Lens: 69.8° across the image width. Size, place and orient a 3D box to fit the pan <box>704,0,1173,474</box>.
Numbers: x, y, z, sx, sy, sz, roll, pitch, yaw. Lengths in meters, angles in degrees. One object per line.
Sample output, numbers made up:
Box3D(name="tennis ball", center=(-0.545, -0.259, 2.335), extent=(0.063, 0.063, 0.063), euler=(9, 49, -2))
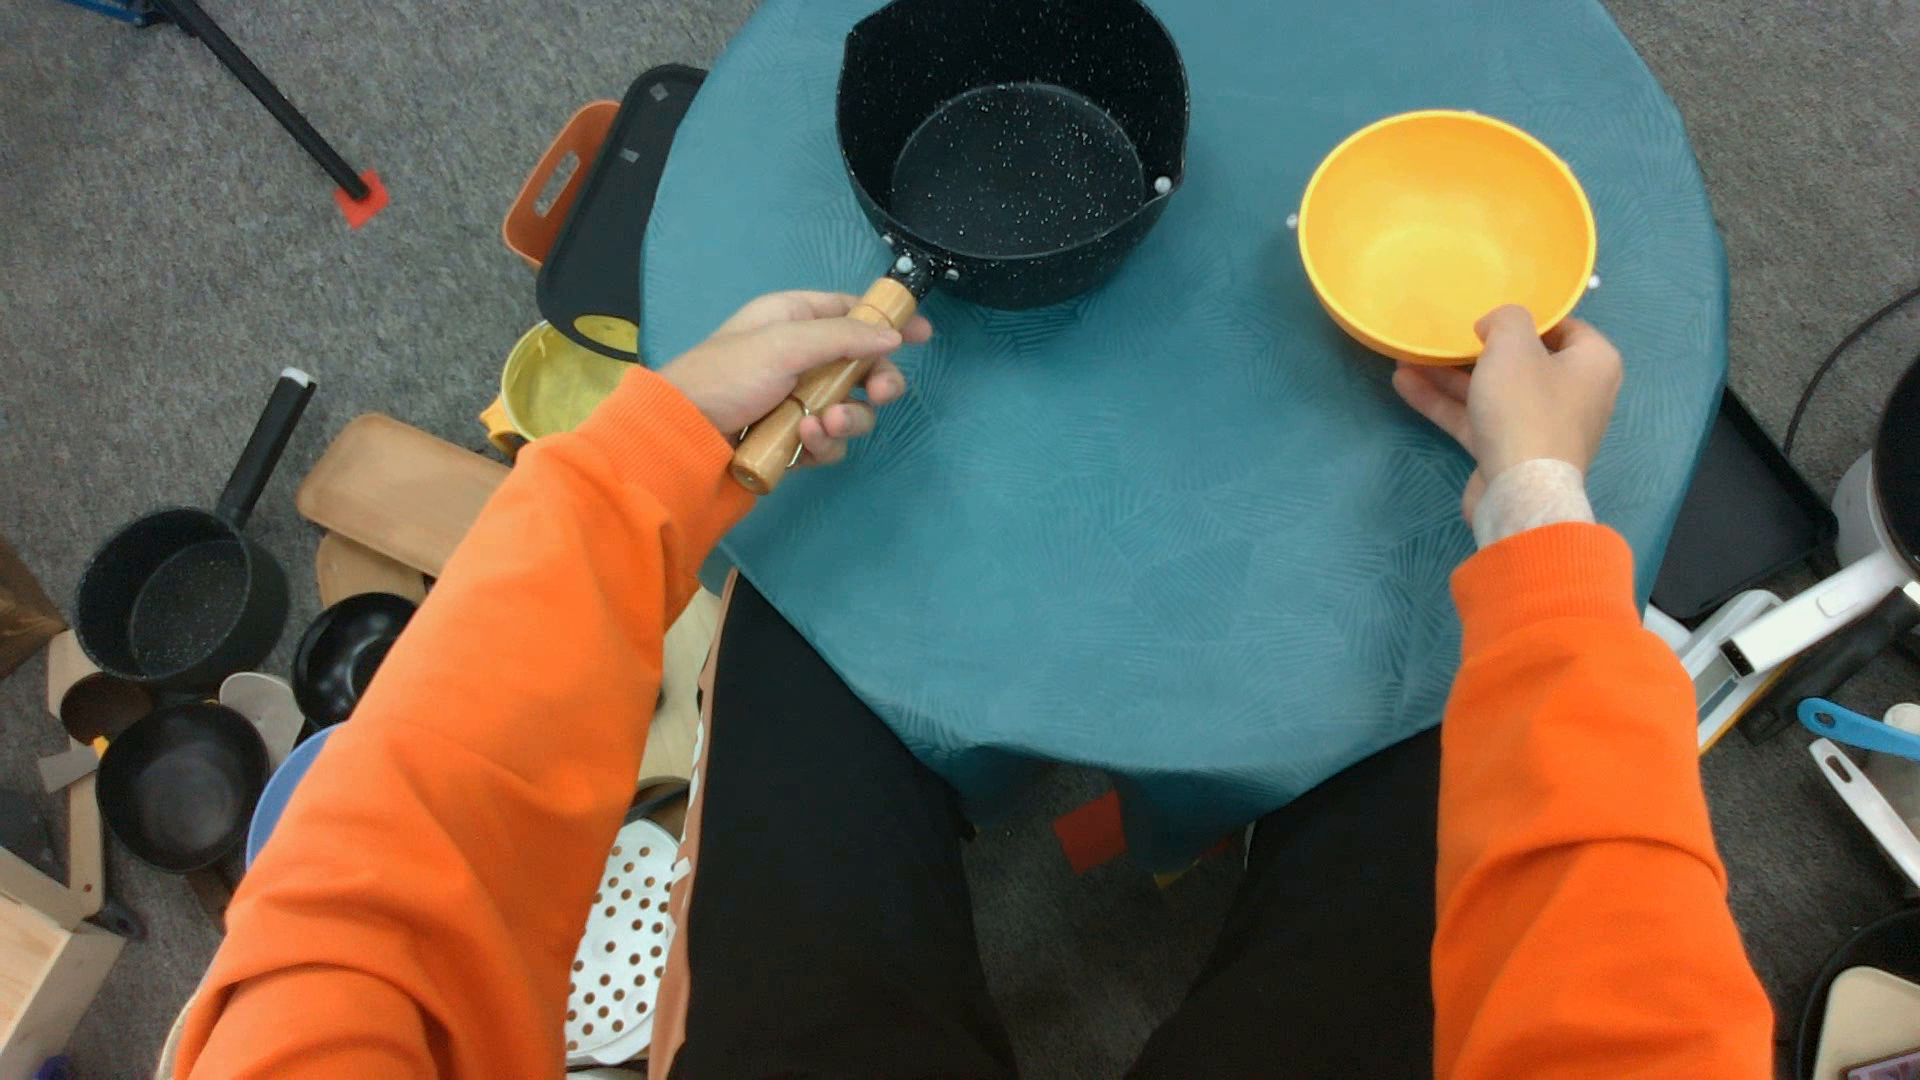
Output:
Box3D(name="pan", center=(-0.020, -0.160, 0.721), extent=(0.207, 0.108, 0.344), euler=(27, 74, 11))

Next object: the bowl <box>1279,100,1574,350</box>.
Box3D(name="bowl", center=(0.240, -0.156, 0.728), extent=(0.145, 0.060, 0.146), euler=(-2, 70, 6))
